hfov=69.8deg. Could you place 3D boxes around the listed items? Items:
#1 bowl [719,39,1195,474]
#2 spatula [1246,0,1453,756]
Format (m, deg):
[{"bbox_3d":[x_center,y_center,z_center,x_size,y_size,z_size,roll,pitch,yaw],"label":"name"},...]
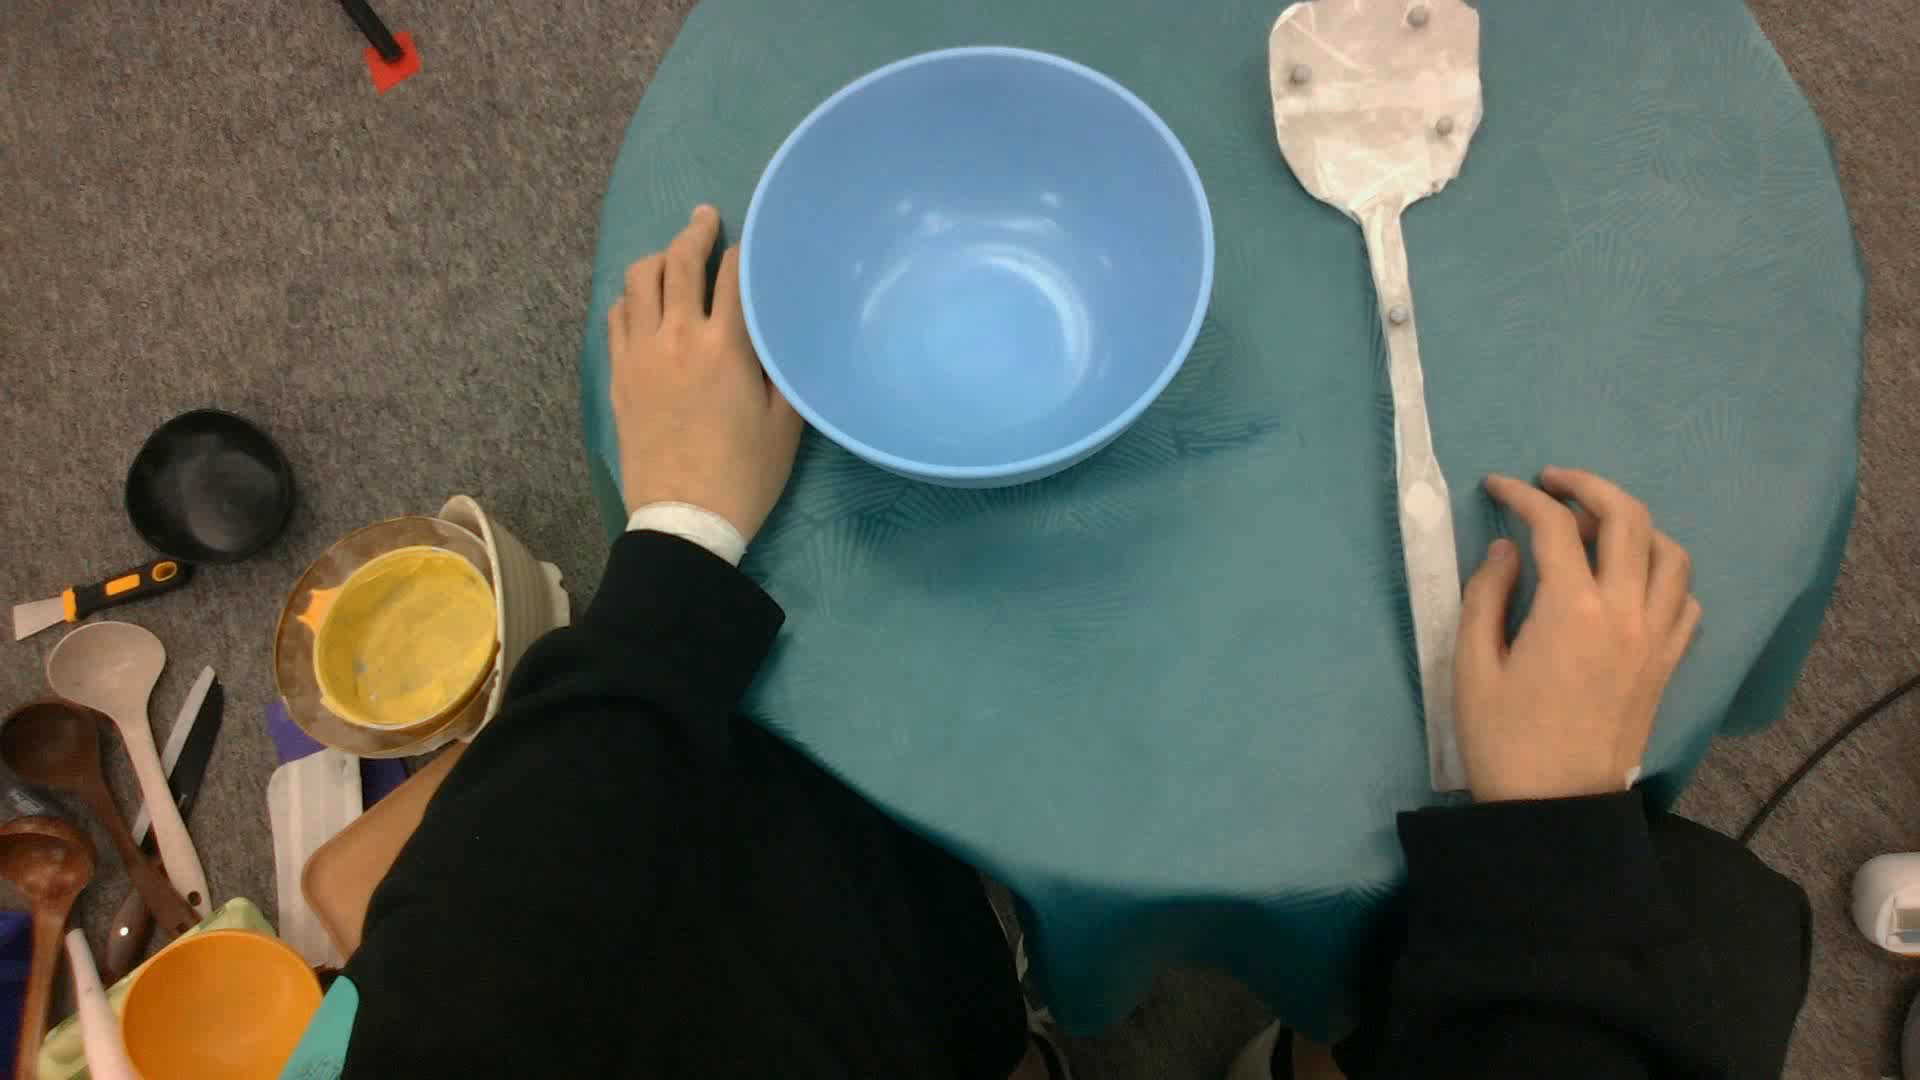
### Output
[{"bbox_3d":[0.001,-0.110,0.610,0.196,0.095,0.197,-1,71,3],"label":"bowl"},{"bbox_3d":[0.188,-0.088,0.621,0.098,0.044,0.366,-1,73,2],"label":"spatula"}]
